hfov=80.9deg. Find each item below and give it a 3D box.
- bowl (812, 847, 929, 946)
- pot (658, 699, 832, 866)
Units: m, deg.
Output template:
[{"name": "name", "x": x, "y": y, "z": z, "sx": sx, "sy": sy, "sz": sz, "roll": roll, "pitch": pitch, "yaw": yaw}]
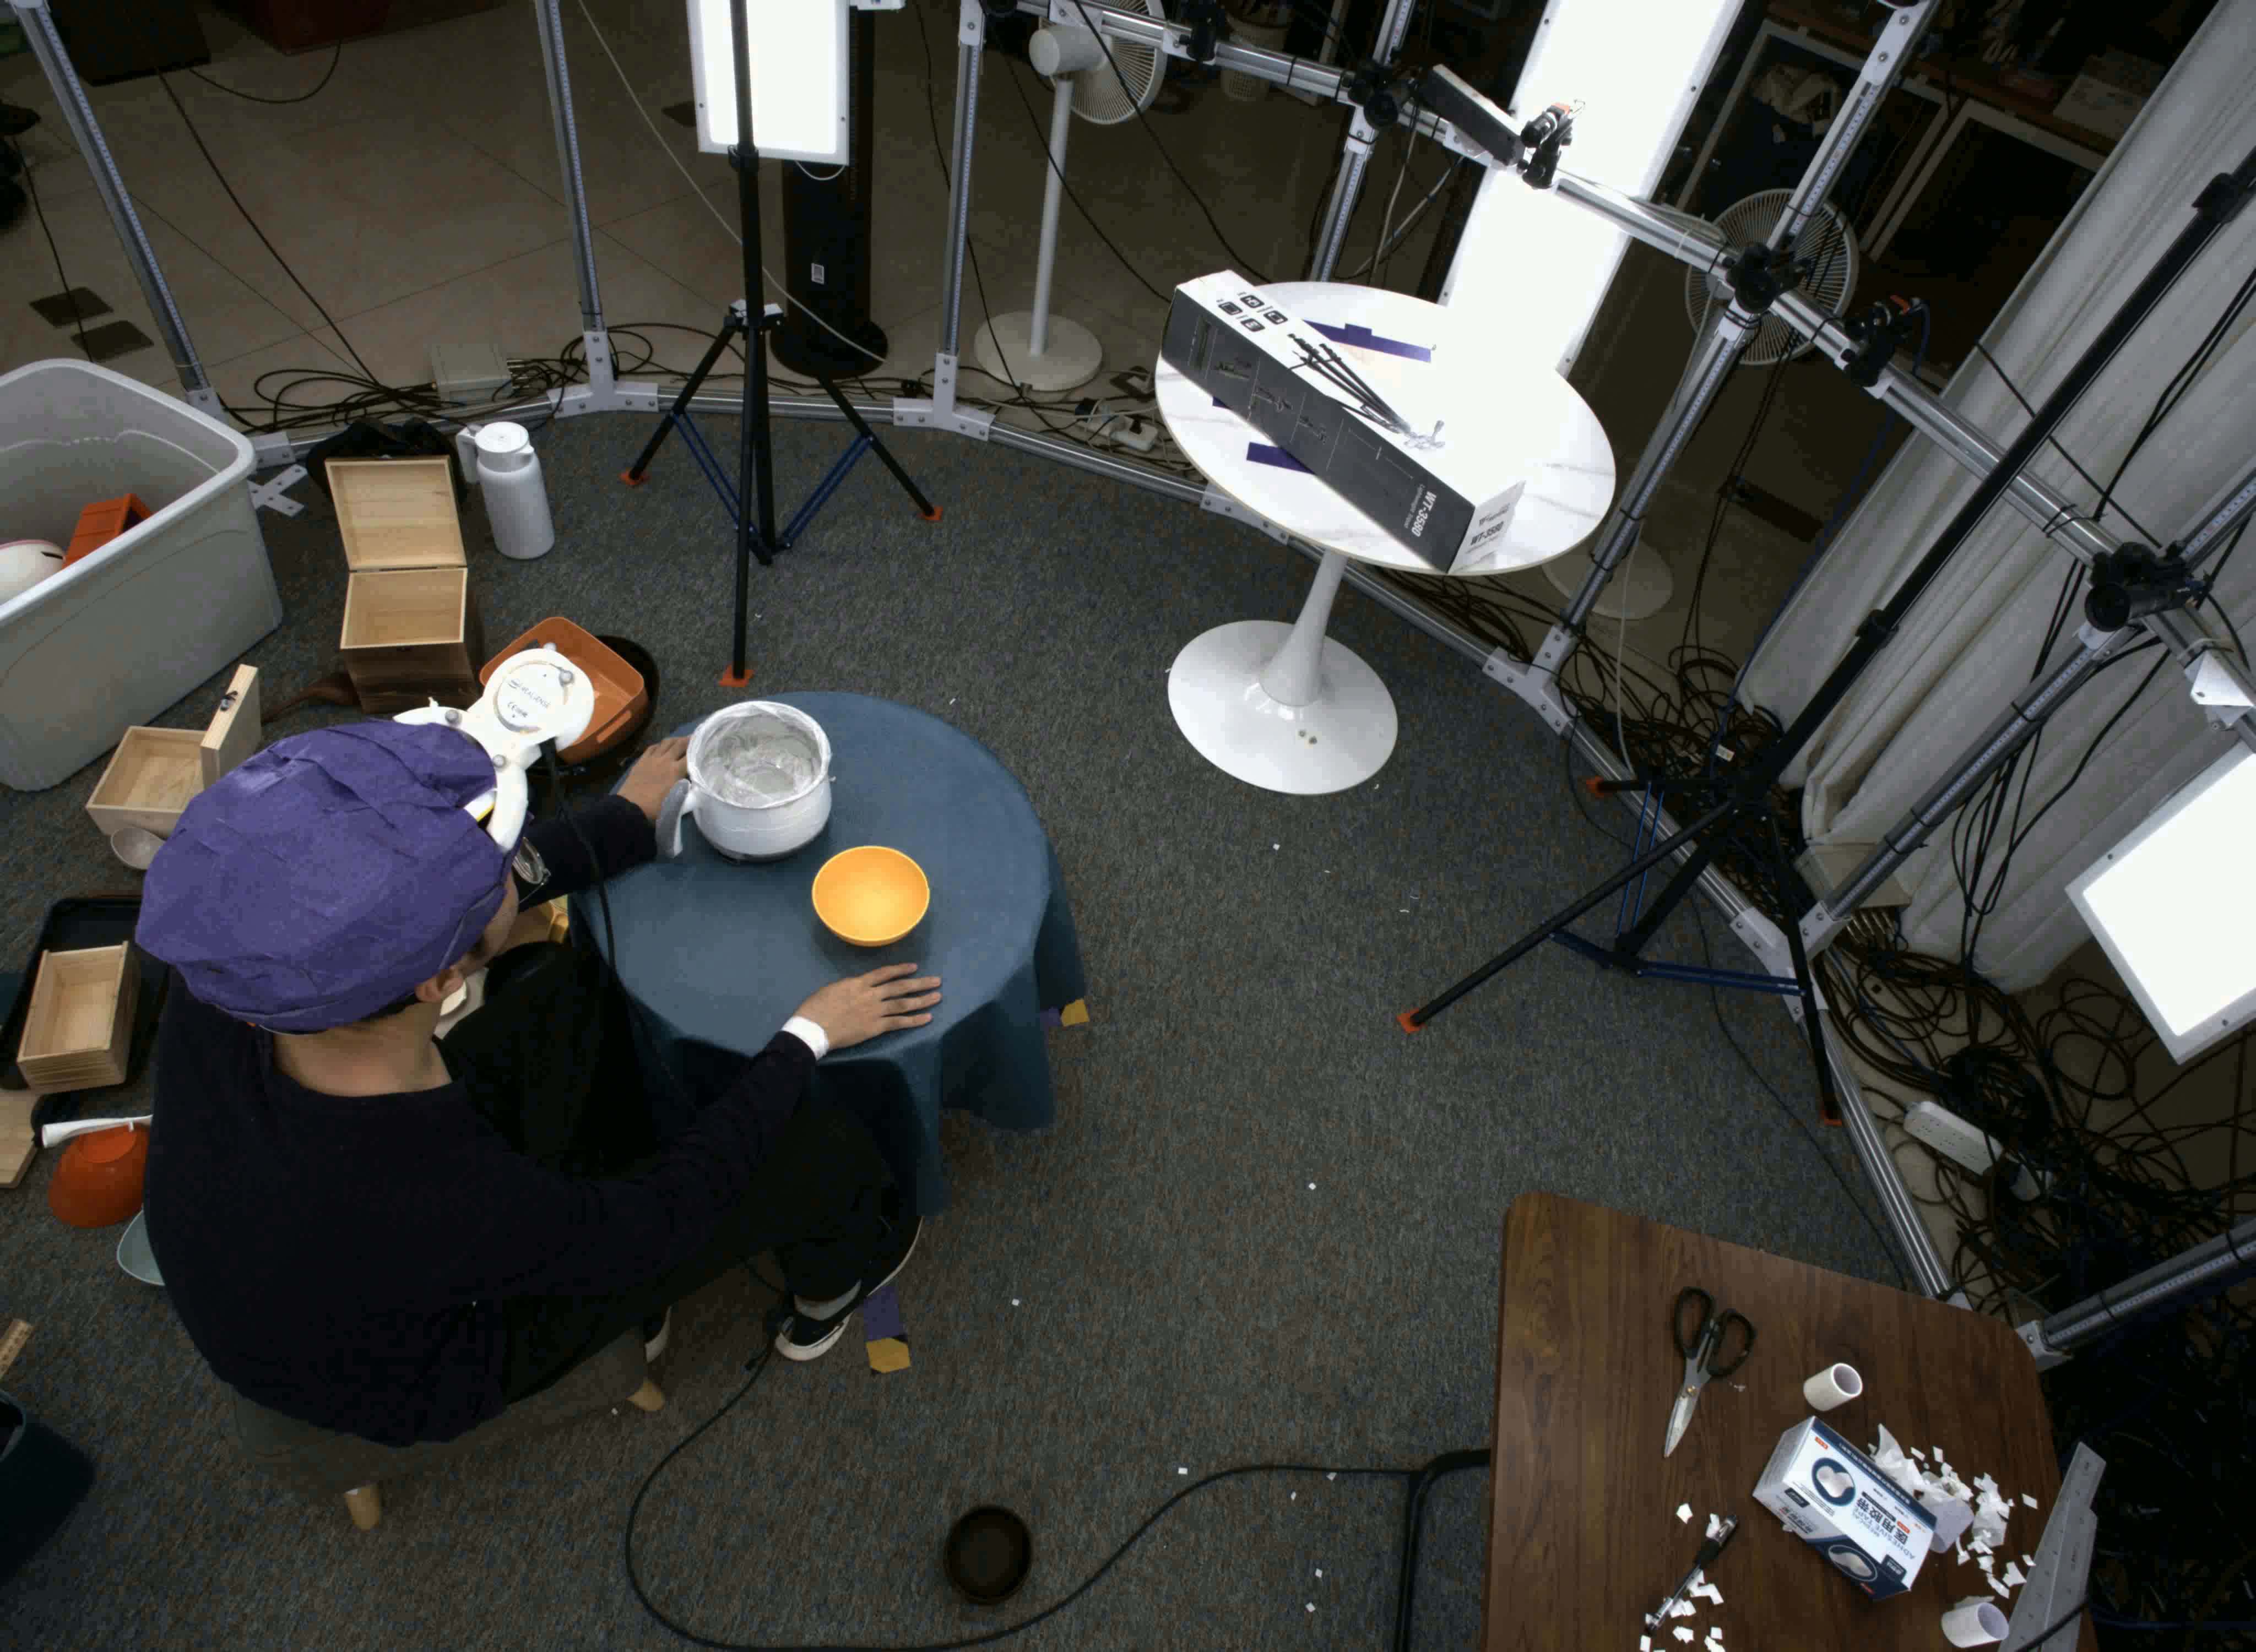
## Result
[{"name": "bowl", "x": -0.325, "y": 0.099, "z": 1.647, "sx": 0.145, "sy": 0.061, "sz": 0.142, "roll": 8, "pitch": 51, "yaw": -8}, {"name": "pot", "x": -0.496, "y": -0.044, "z": 1.660, "sx": 0.234, "sy": 0.140, "sz": 0.174, "roll": -29, "pitch": 62, "yaw": -31}]
